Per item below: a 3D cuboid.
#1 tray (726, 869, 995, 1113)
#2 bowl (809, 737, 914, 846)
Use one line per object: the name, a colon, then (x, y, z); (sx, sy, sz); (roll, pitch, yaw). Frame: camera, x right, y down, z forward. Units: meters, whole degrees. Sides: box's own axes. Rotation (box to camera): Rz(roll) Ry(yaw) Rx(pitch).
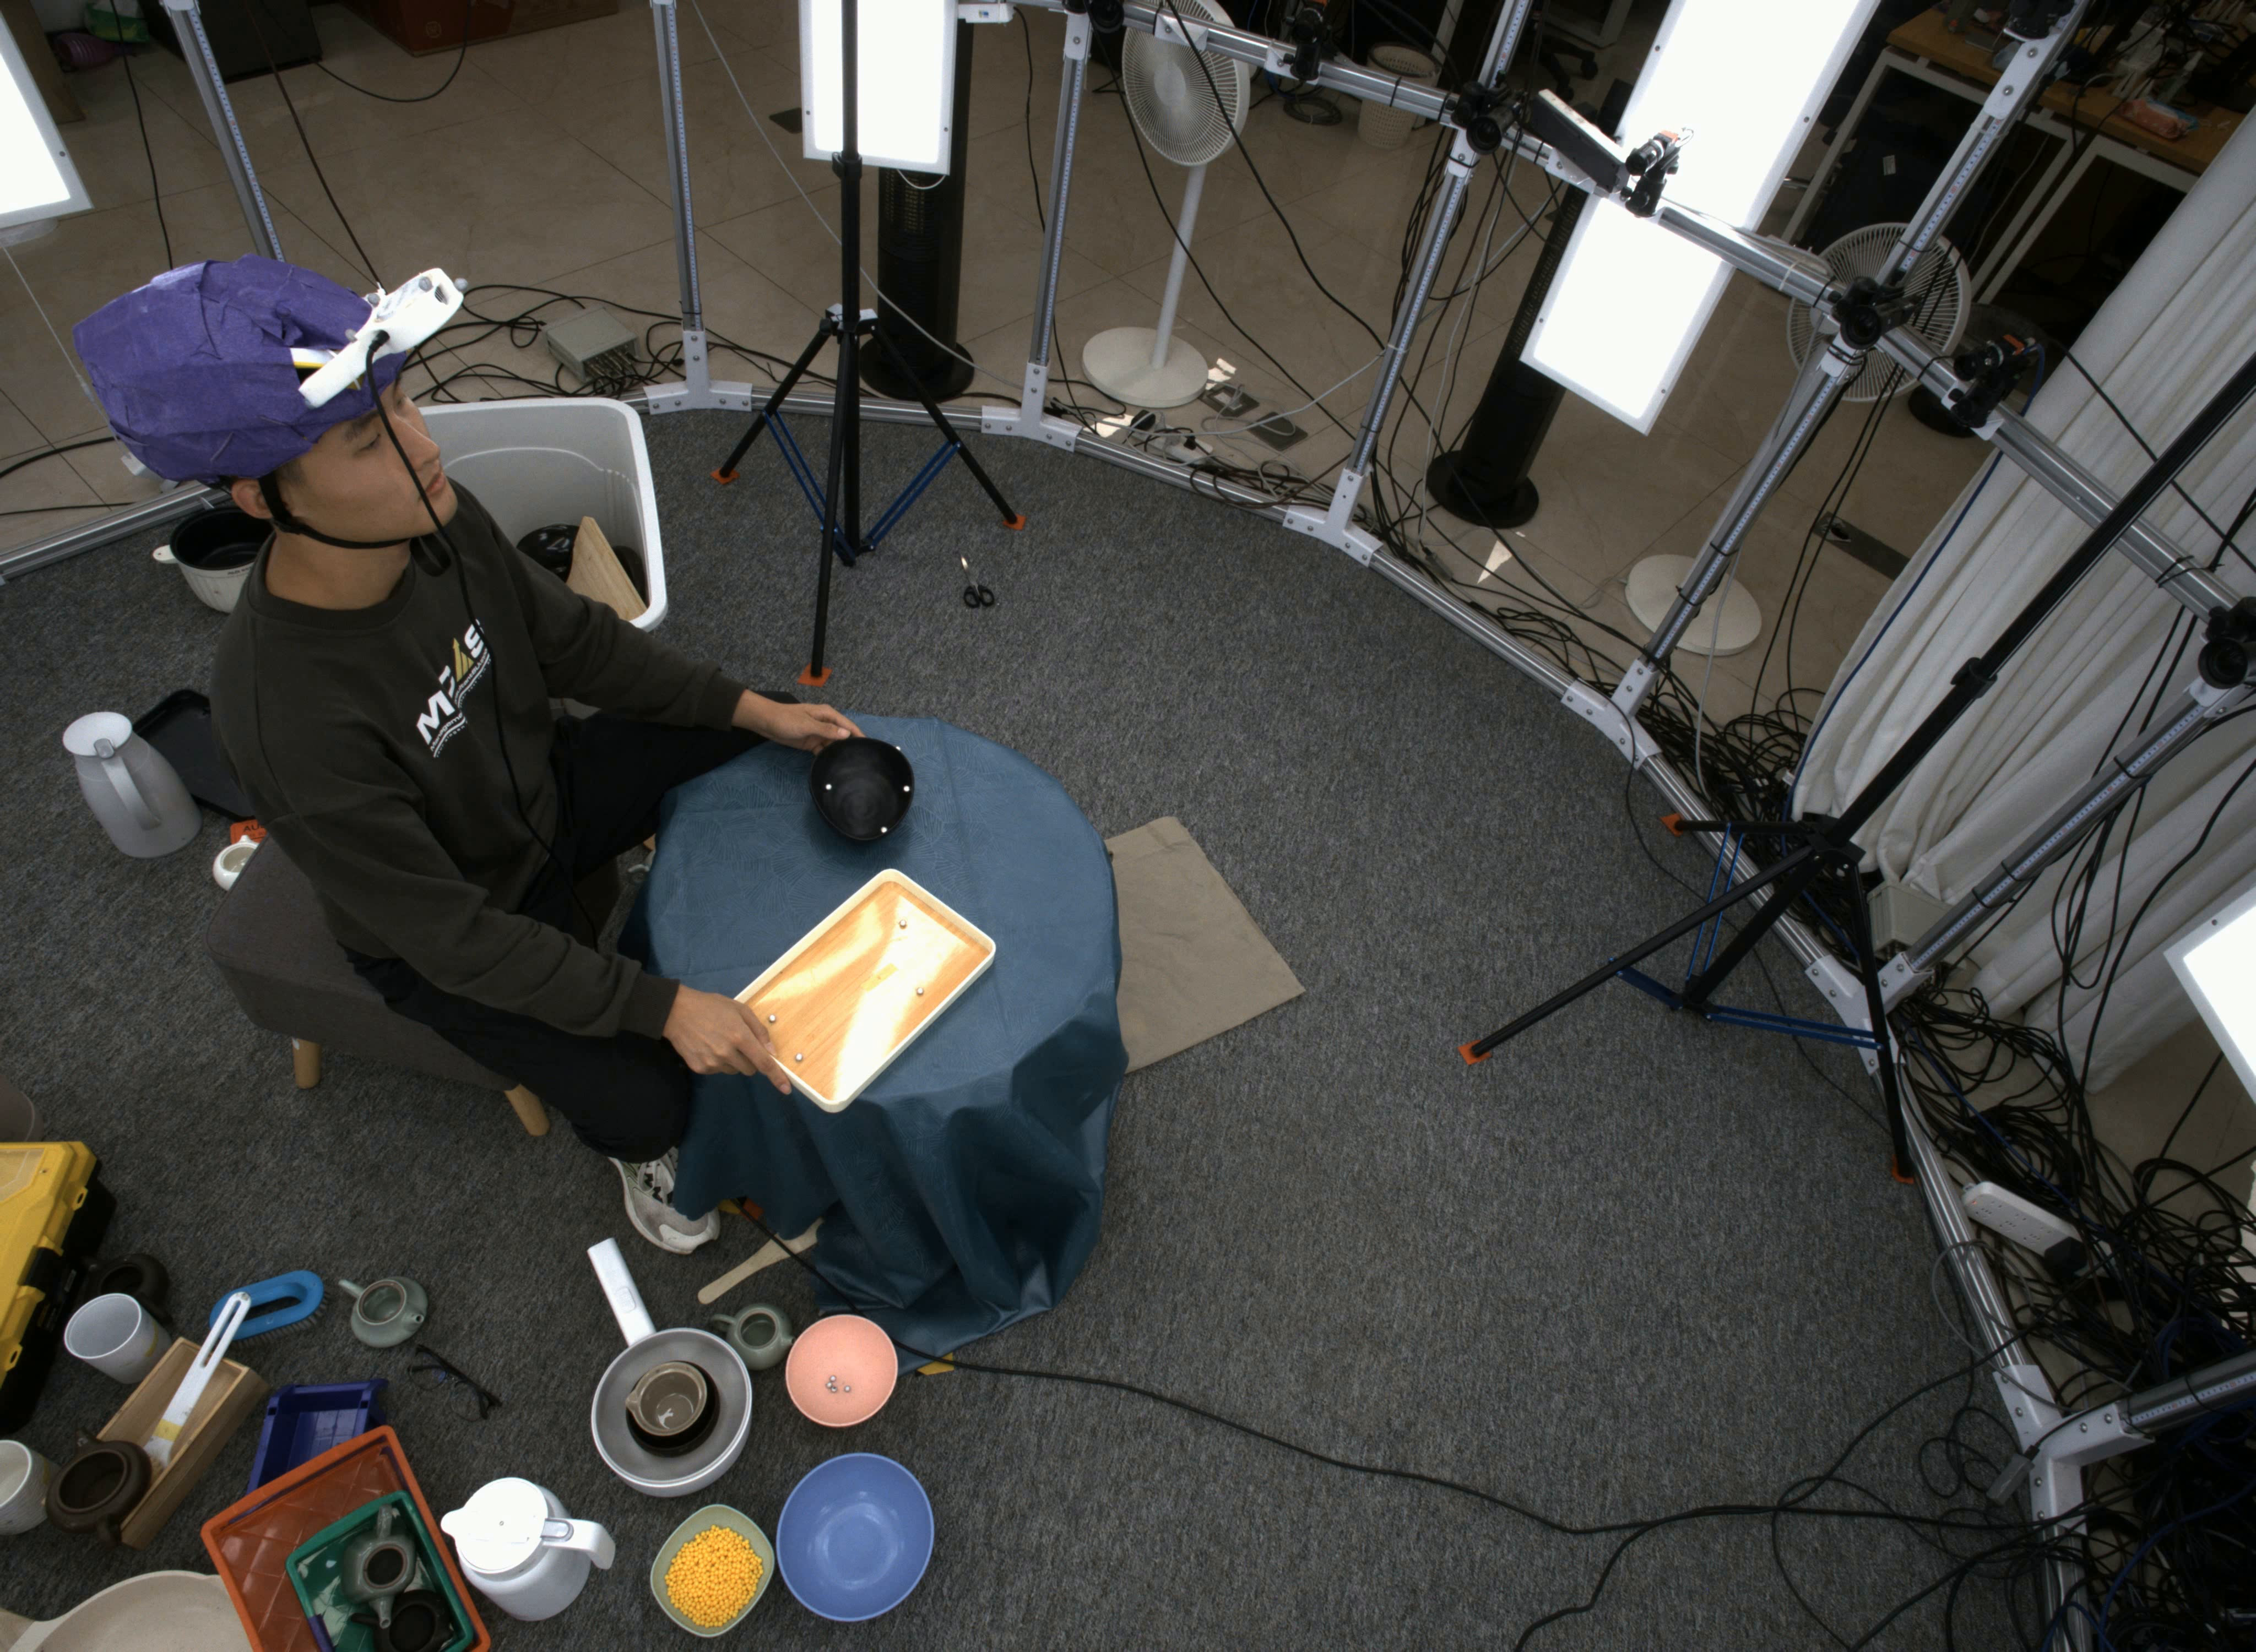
tray: (-0.323, 0.193, 1.598); (0.188, 0.028, 0.300); (35, 54, 13)
bowl: (-0.355, -0.039, 1.741); (0.137, 0.068, 0.166); (-7, 57, -16)
